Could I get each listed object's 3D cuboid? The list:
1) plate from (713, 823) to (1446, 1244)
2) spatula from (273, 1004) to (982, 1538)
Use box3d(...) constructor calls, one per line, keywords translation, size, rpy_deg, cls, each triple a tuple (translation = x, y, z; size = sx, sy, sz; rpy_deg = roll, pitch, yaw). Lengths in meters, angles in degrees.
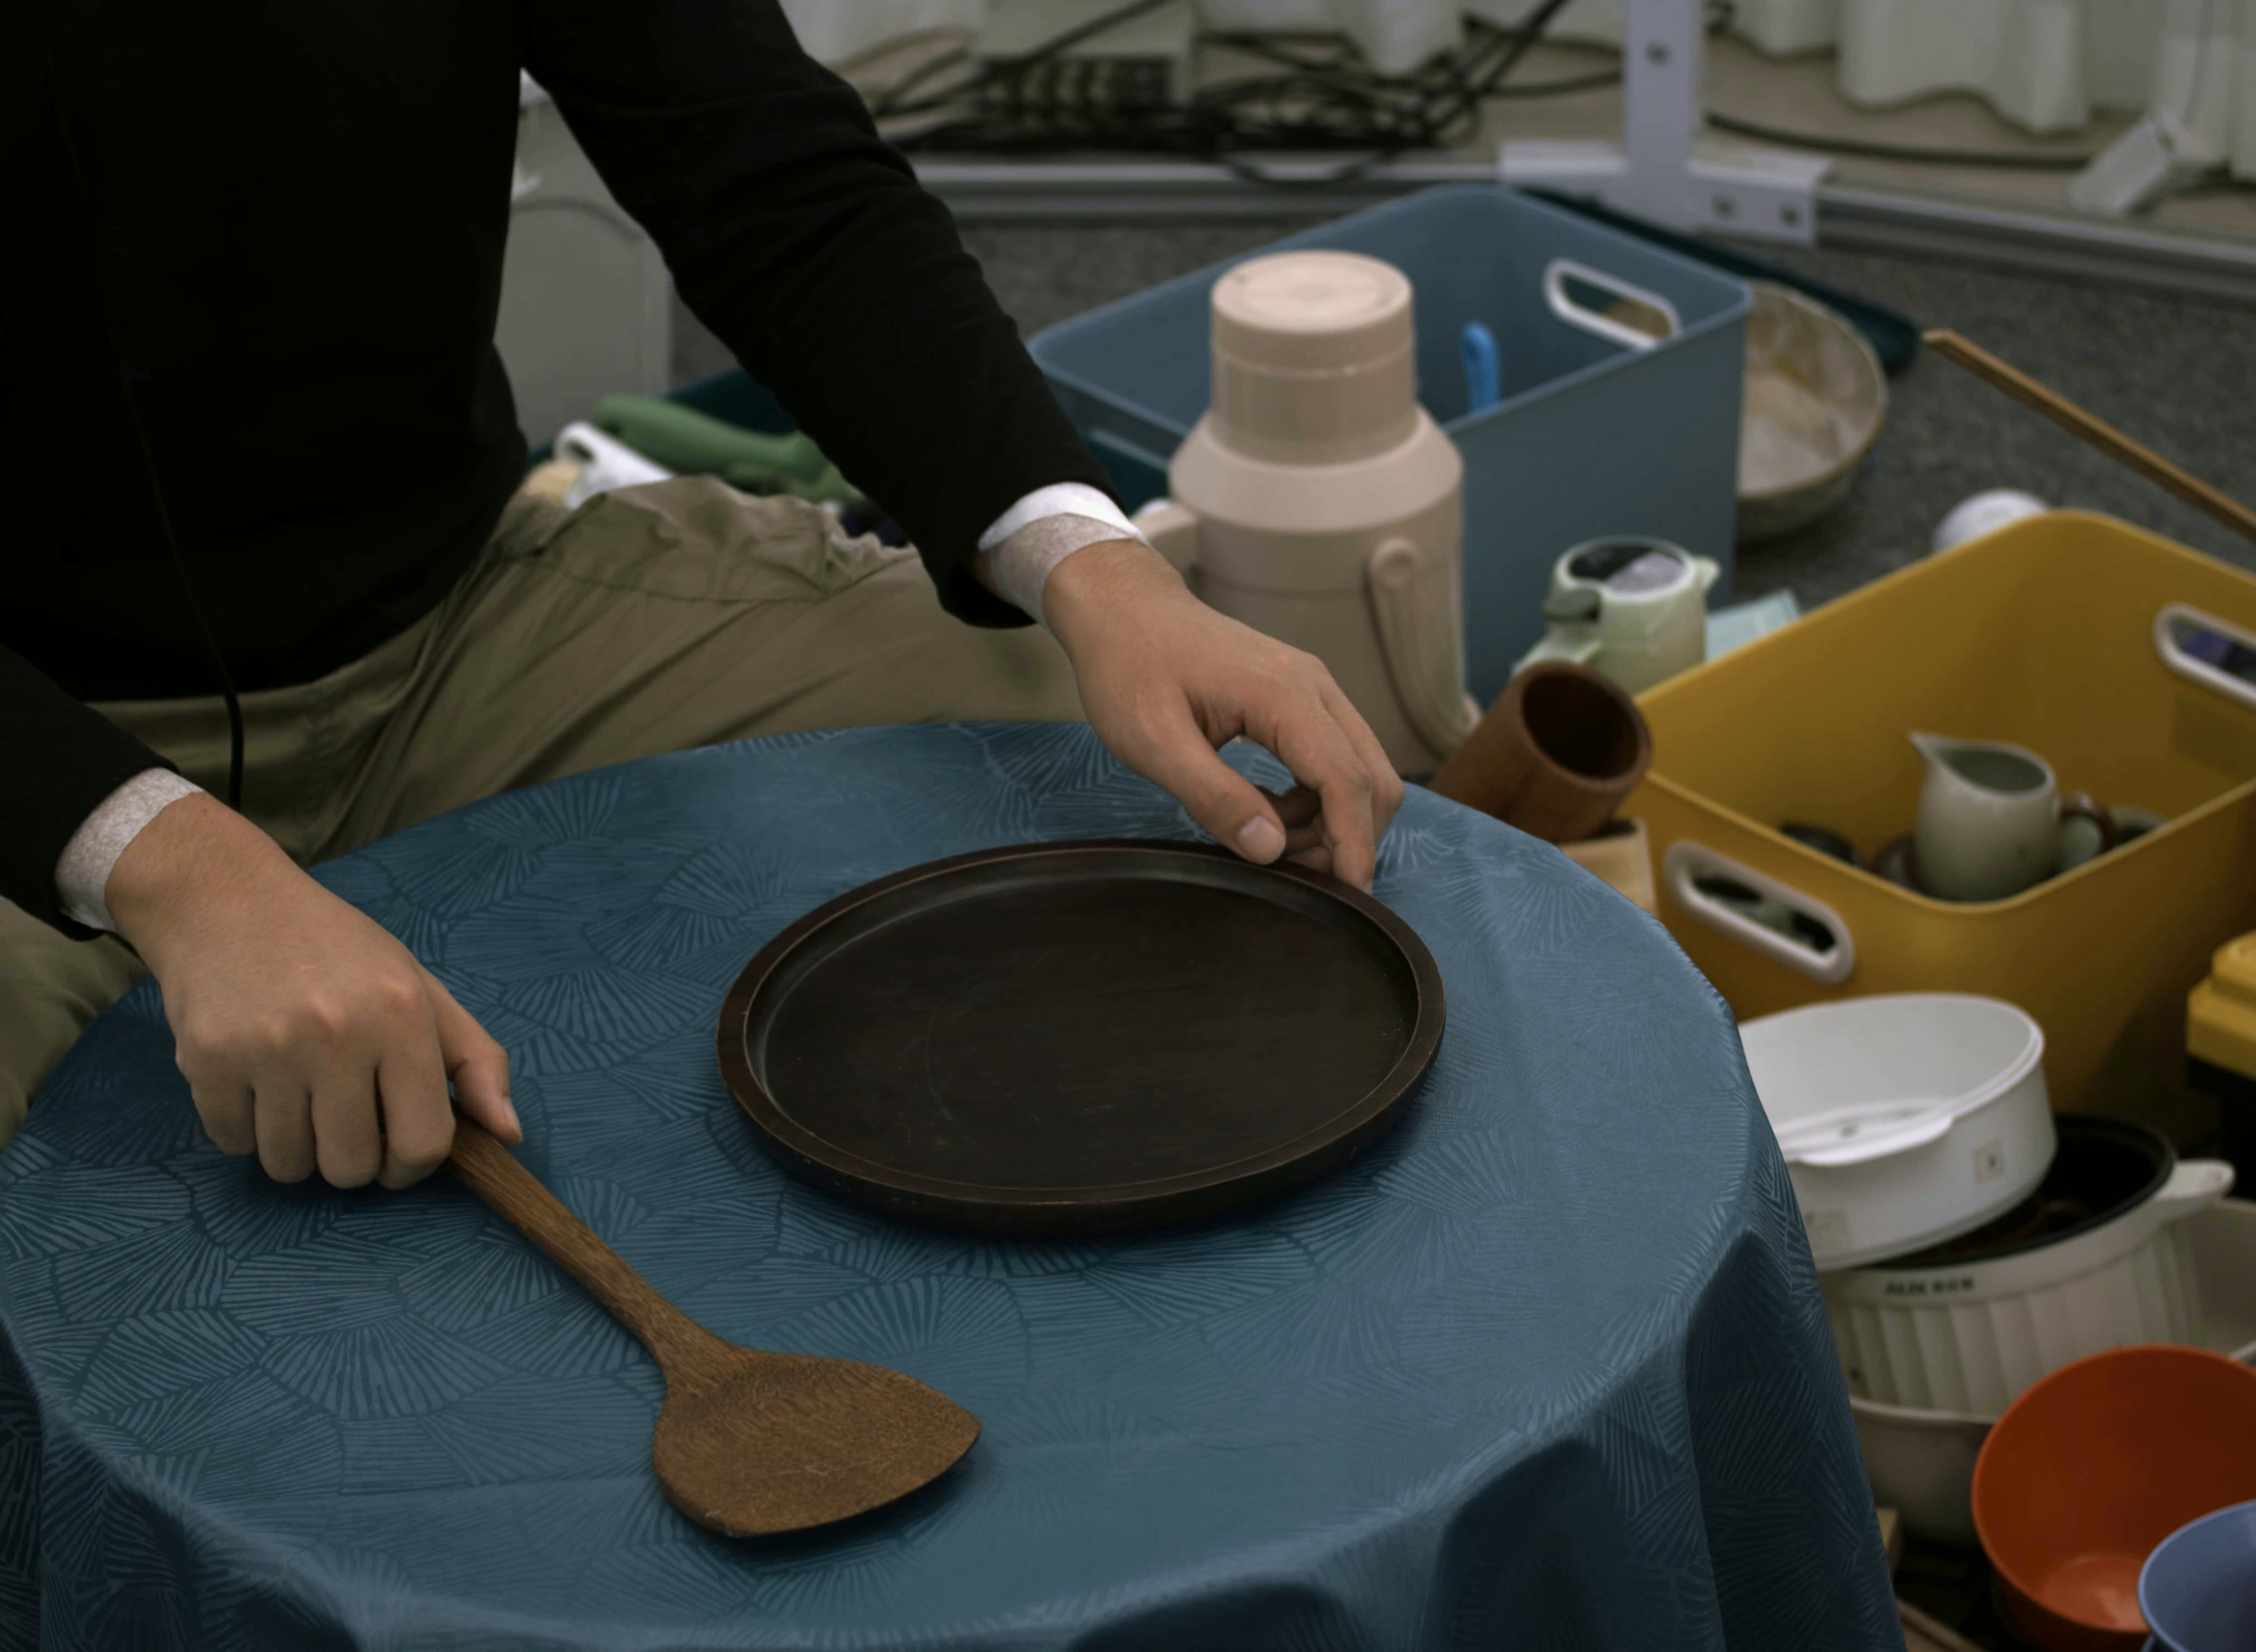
box3d(translation=(-0.016, 0.072, 1.932), size=(0.253, 0.029, 0.259), rpy_deg=(-3, 28, 2), cls="plate")
box3d(translation=(-0.184, 0.136, 1.830), size=(0.097, 0.015, 0.387), rpy_deg=(-19, 33, -30), cls="spatula")
